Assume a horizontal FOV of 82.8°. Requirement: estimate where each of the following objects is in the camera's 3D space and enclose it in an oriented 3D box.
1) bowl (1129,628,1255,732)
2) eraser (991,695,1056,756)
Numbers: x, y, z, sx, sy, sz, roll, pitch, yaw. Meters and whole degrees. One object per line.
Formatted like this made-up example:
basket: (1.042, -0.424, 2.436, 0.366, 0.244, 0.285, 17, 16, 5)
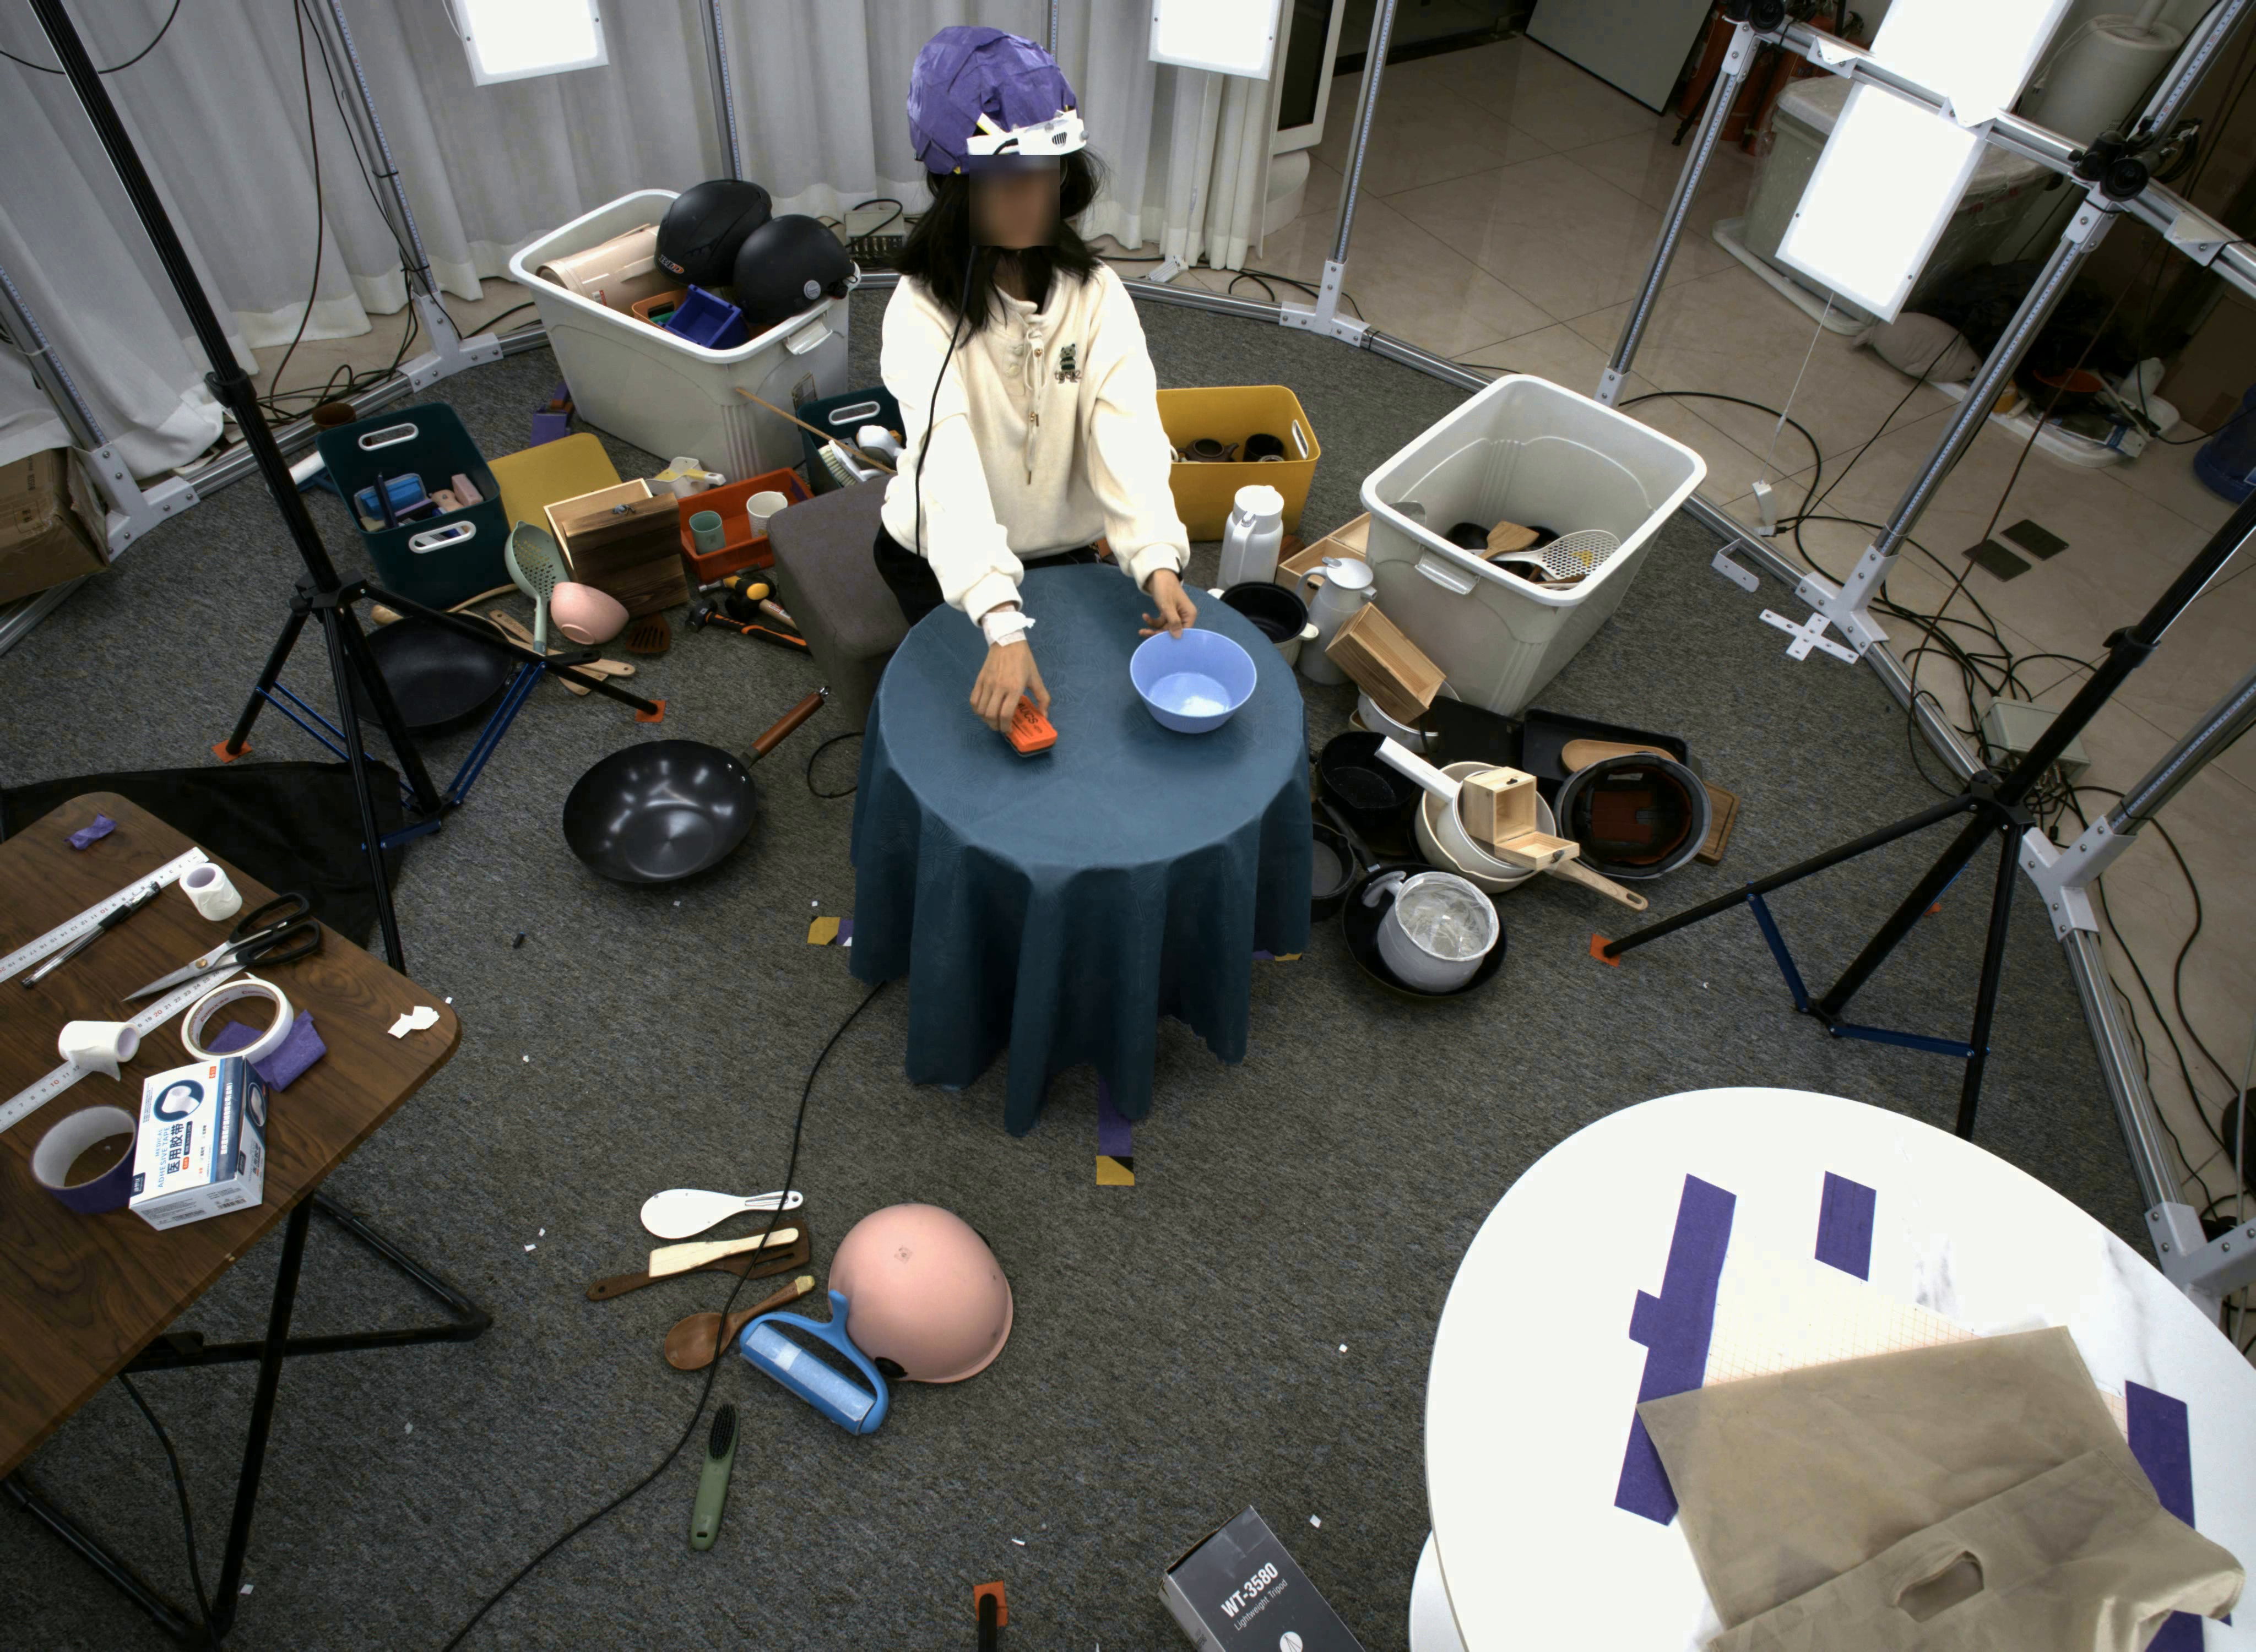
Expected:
bowl: (0.087, -0.196, 1.799, 0.176, 0.068, 0.180, 1, 49, -2)
eraser: (-0.143, -0.139, 1.753, 0.059, 0.022, 0.110, -17, 43, -22)
